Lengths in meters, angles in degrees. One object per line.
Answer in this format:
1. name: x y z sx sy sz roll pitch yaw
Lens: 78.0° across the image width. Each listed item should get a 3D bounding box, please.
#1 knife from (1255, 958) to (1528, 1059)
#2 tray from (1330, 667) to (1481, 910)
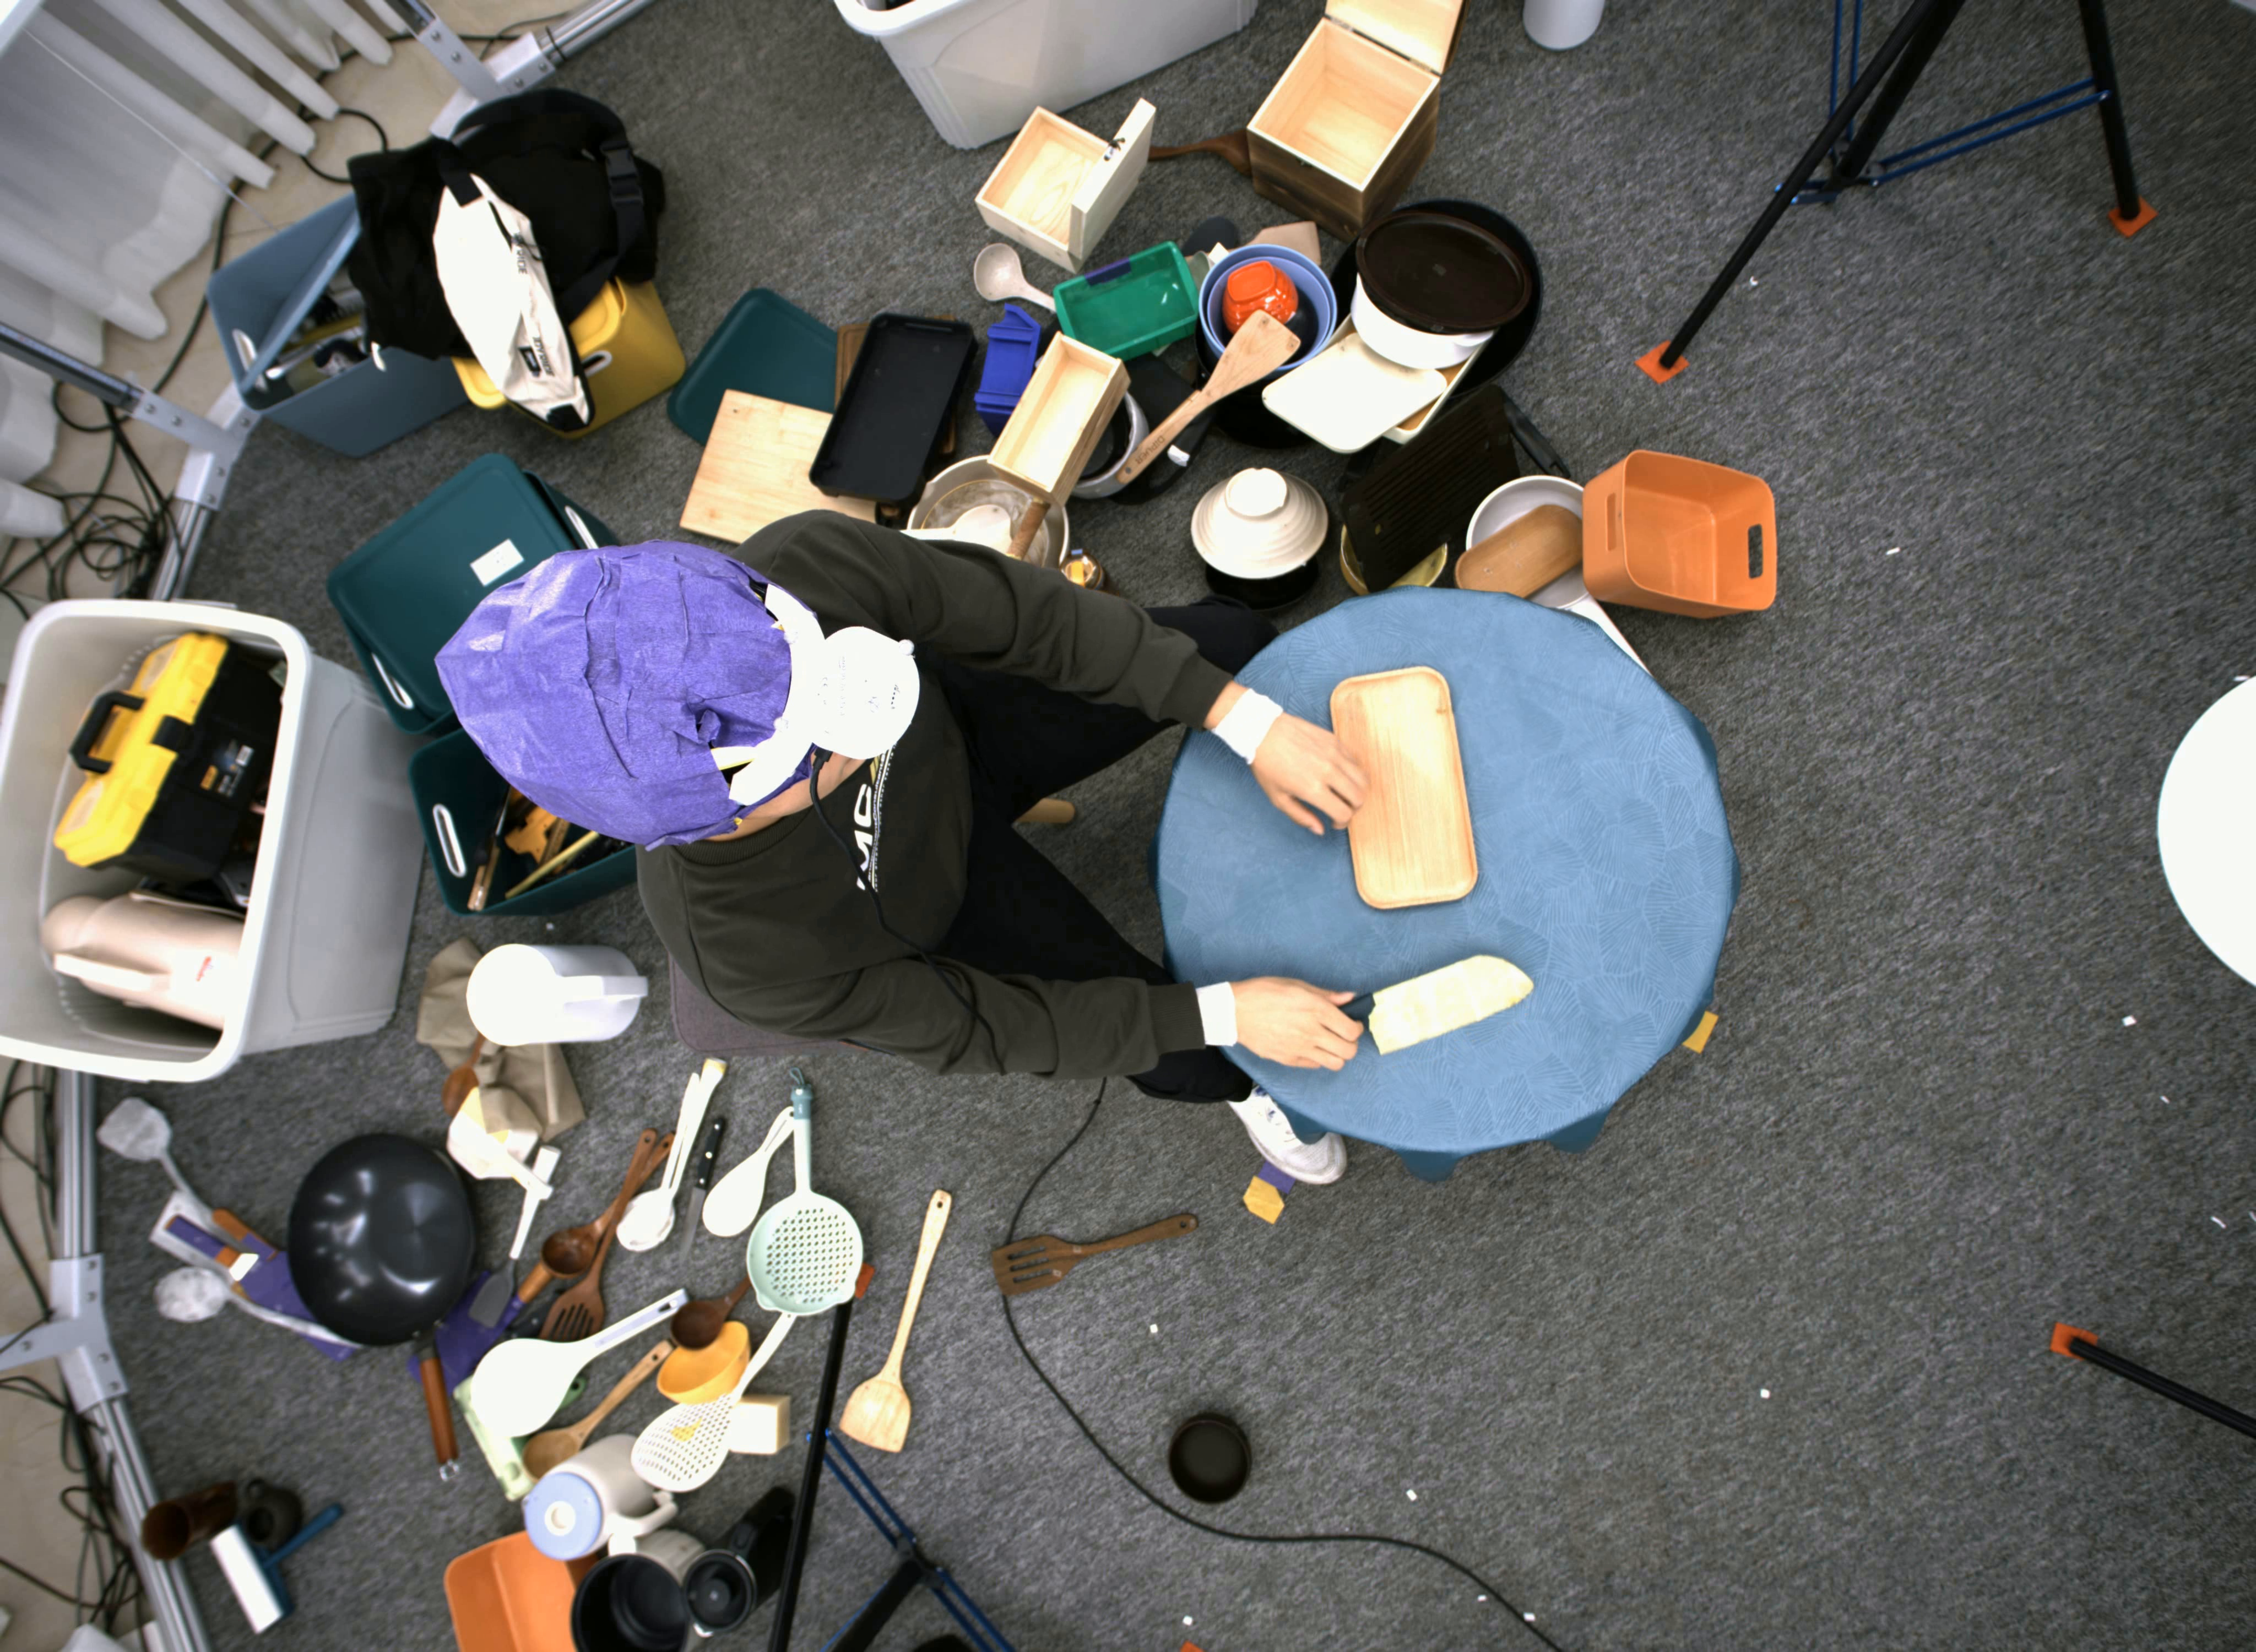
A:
1. knife: 0.274 0.199 1.433 0.291 0.027 0.082 -17 109 9
2. tray: 0.292 -0.042 1.454 0.131 0.023 0.249 -9 86 13
